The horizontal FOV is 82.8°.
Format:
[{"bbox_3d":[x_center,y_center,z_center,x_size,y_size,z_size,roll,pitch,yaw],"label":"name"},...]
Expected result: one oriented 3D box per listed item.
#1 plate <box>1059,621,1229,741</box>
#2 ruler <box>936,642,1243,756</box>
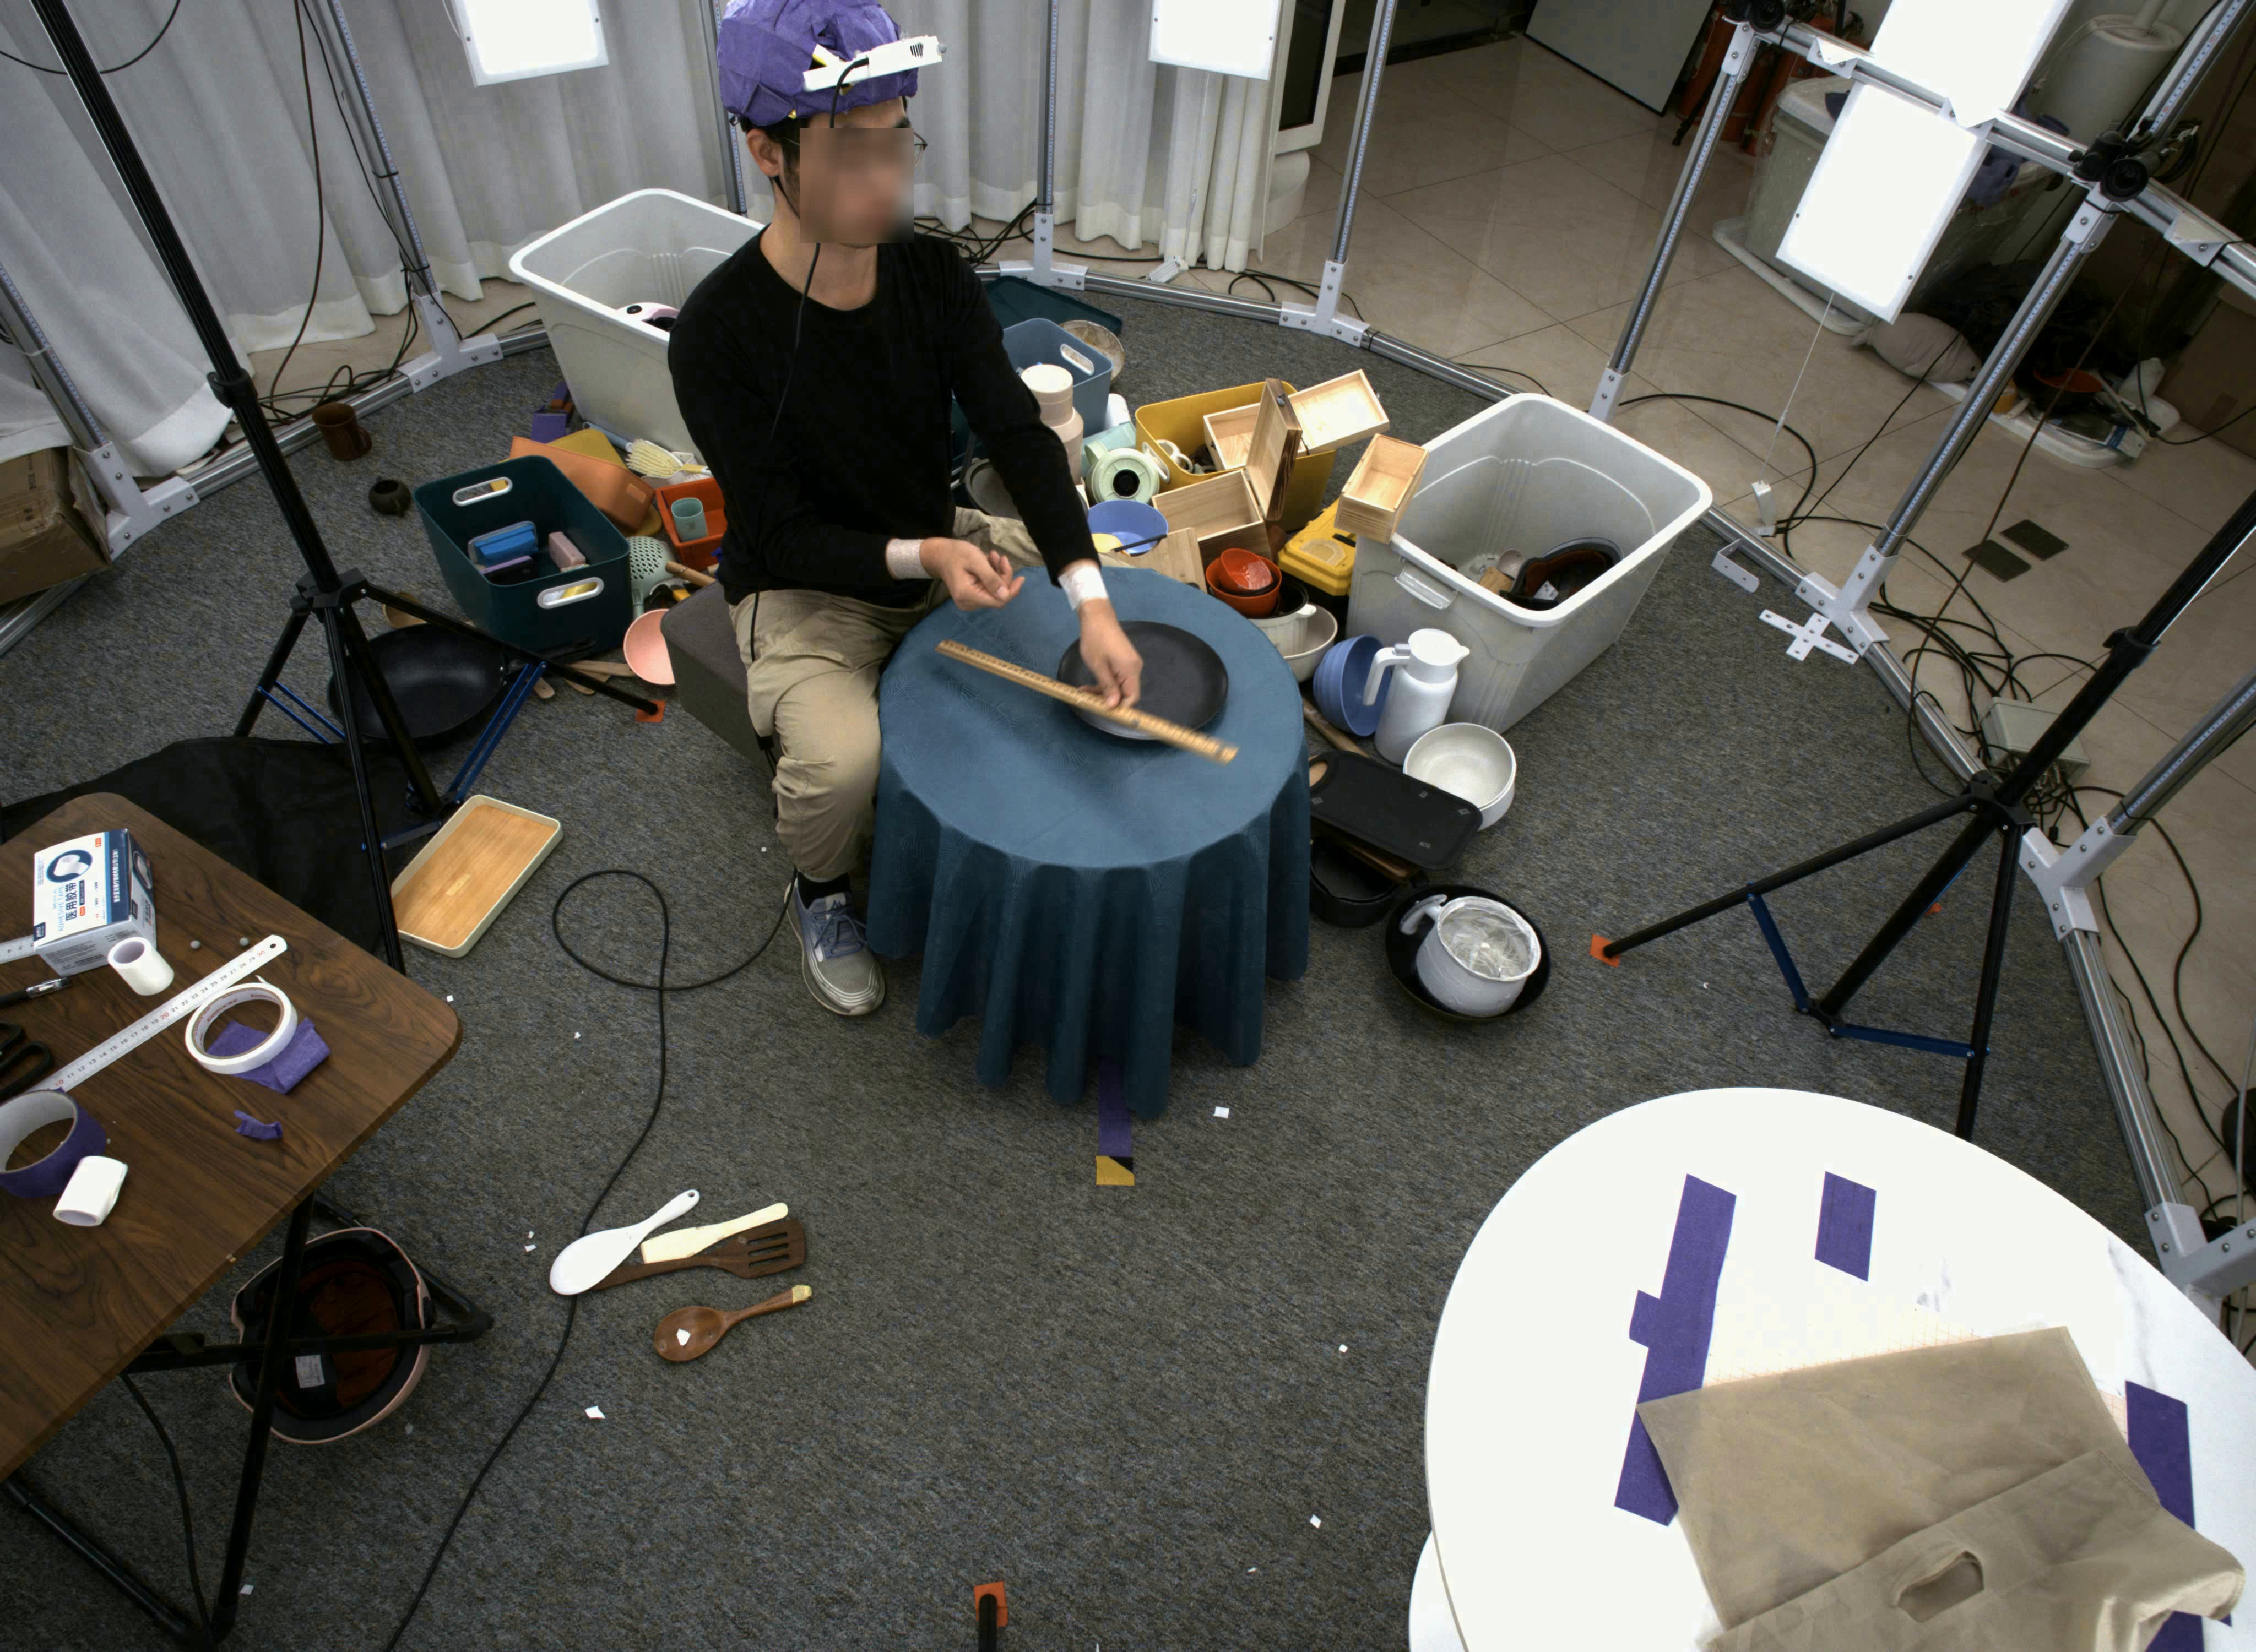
[{"bbox_3d":[0.022,-0.206,1.835,0.244,0.023,0.250,2,49,-2],"label":"plate"},{"bbox_3d":[-0.065,-0.175,1.702,0.506,0.006,0.027,22,54,31],"label":"ruler"}]
